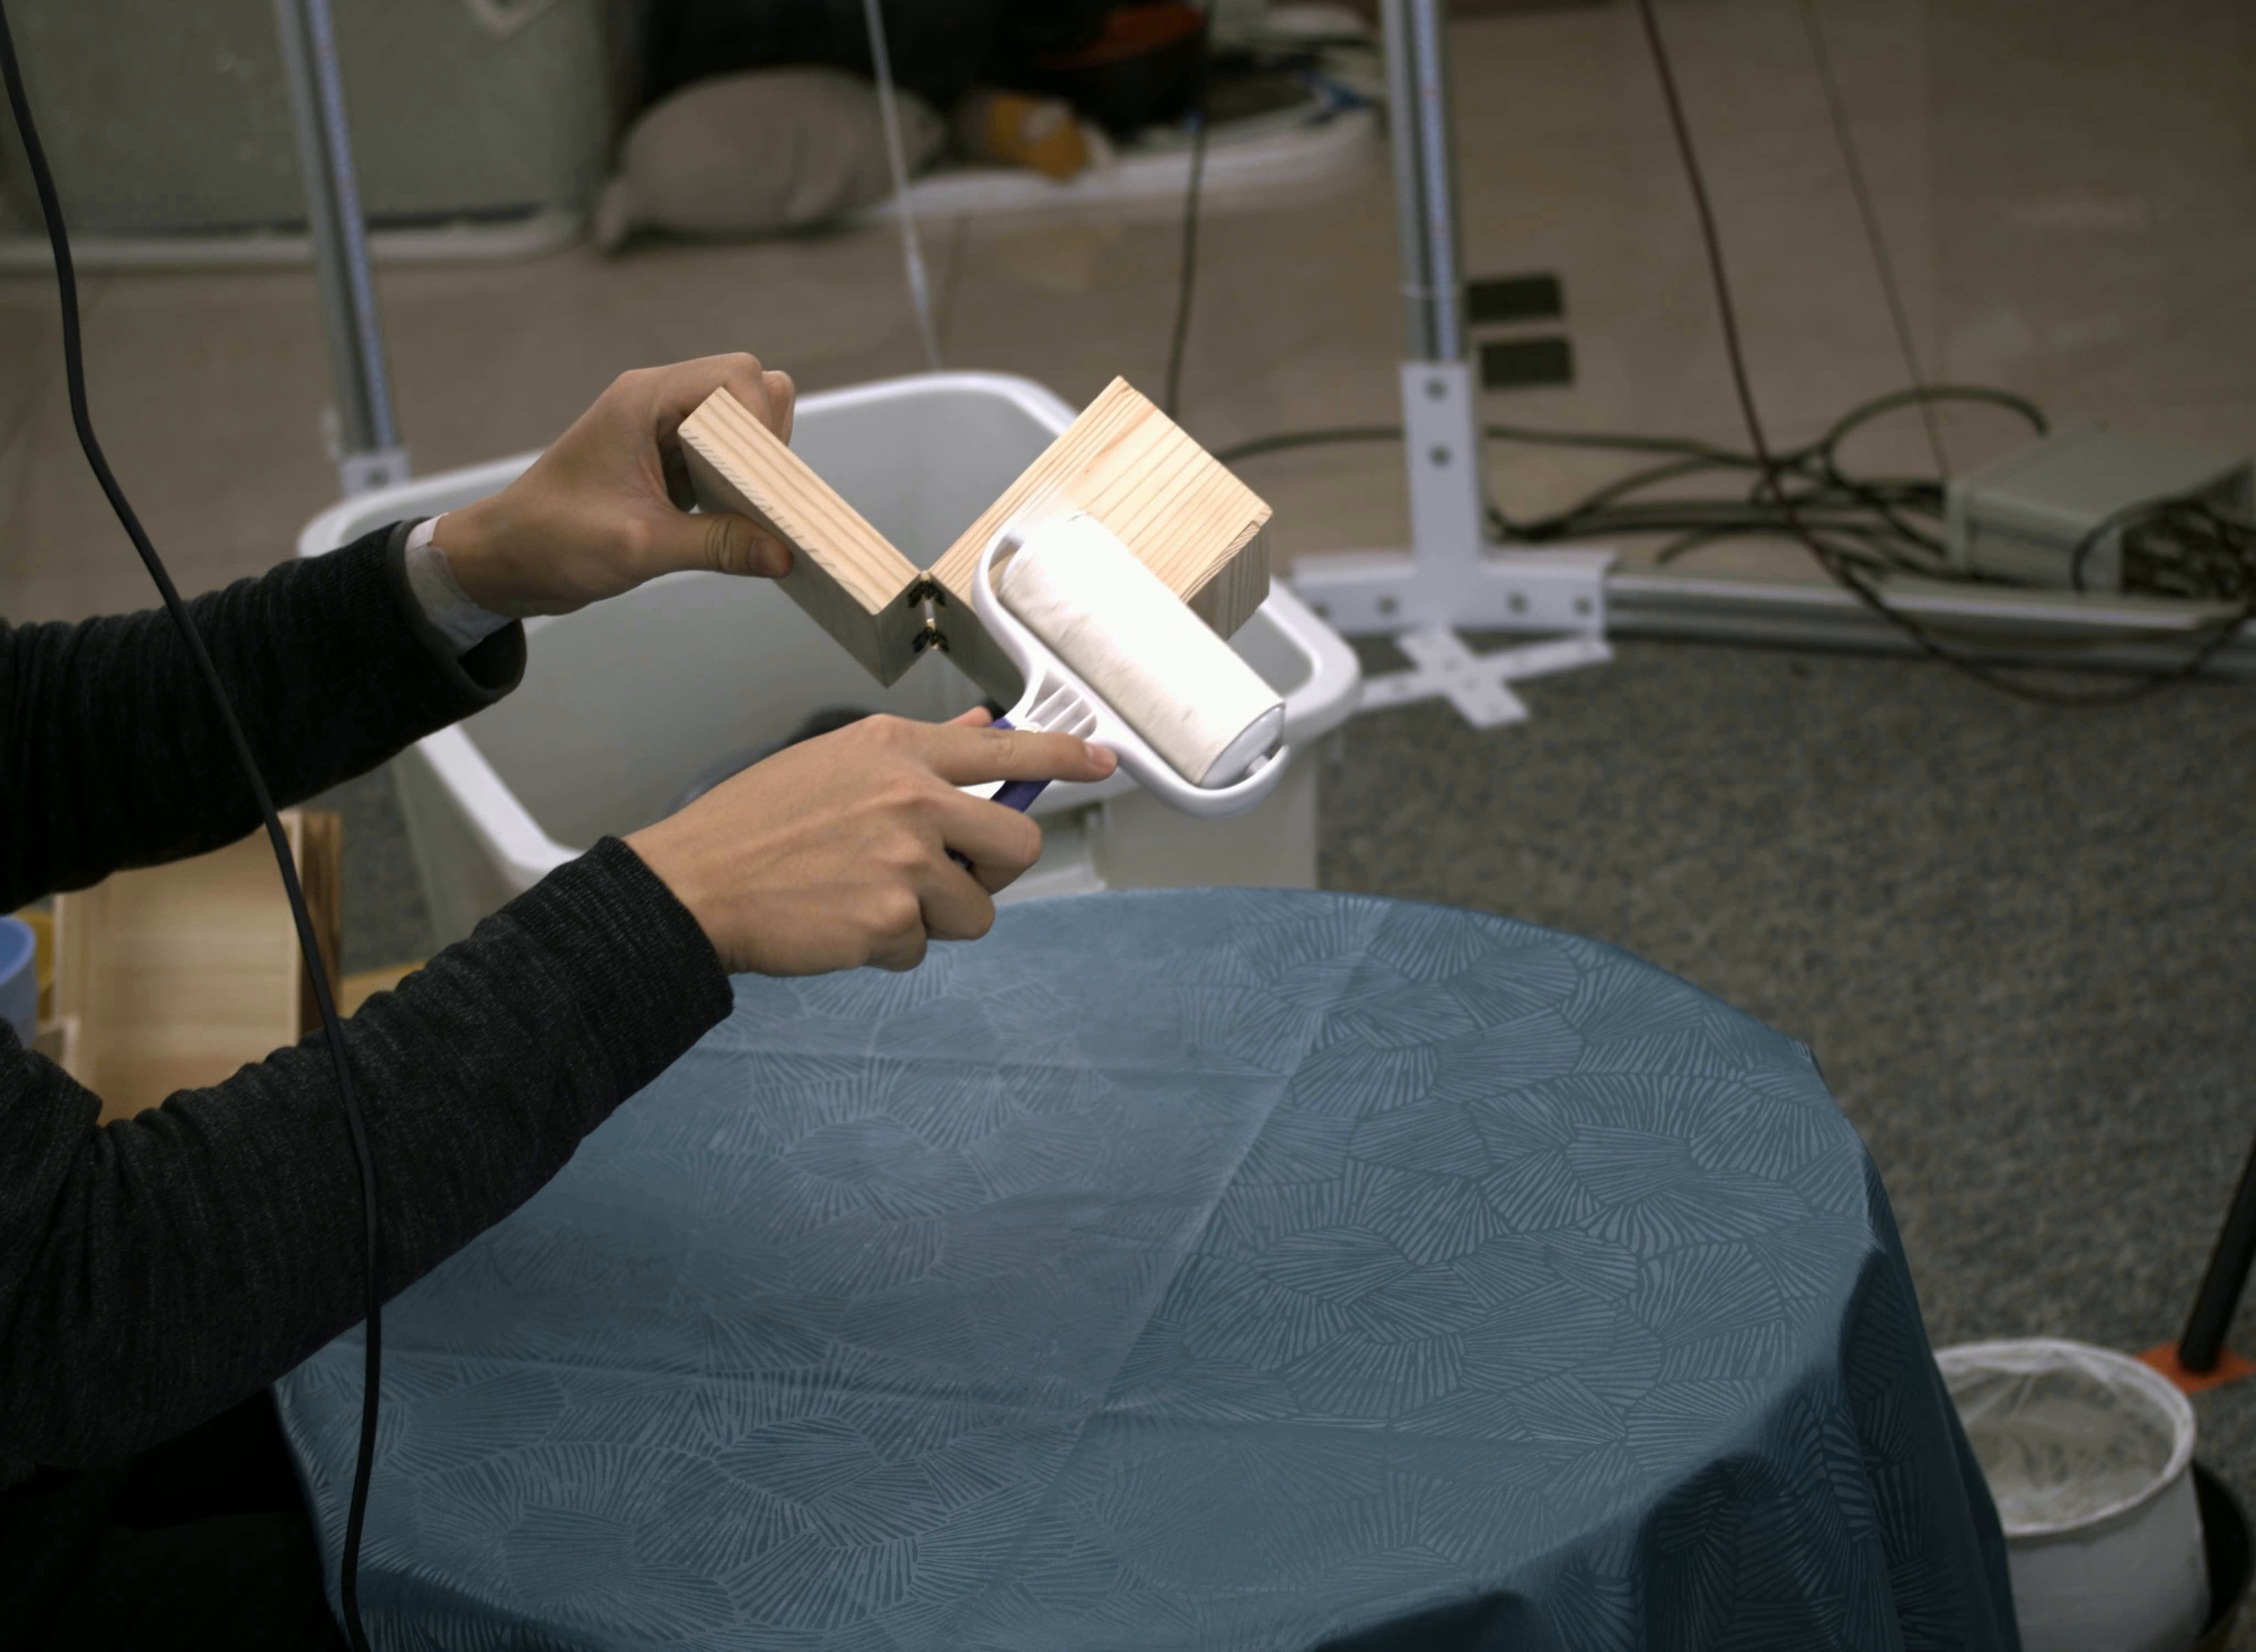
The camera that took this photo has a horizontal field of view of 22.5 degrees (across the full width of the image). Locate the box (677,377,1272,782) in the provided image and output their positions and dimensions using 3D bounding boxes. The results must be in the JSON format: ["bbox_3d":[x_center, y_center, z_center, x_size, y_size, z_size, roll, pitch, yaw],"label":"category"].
[{"bbox_3d":[-0.054,-0.117,2.067,0.183,0.103,0.133,42,80,9],"label":"box"}]

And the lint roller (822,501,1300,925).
[{"bbox_3d":[-0.038,-0.029,1.944,0.132,0.051,0.179,47,55,10],"label":"lint roller"}]
